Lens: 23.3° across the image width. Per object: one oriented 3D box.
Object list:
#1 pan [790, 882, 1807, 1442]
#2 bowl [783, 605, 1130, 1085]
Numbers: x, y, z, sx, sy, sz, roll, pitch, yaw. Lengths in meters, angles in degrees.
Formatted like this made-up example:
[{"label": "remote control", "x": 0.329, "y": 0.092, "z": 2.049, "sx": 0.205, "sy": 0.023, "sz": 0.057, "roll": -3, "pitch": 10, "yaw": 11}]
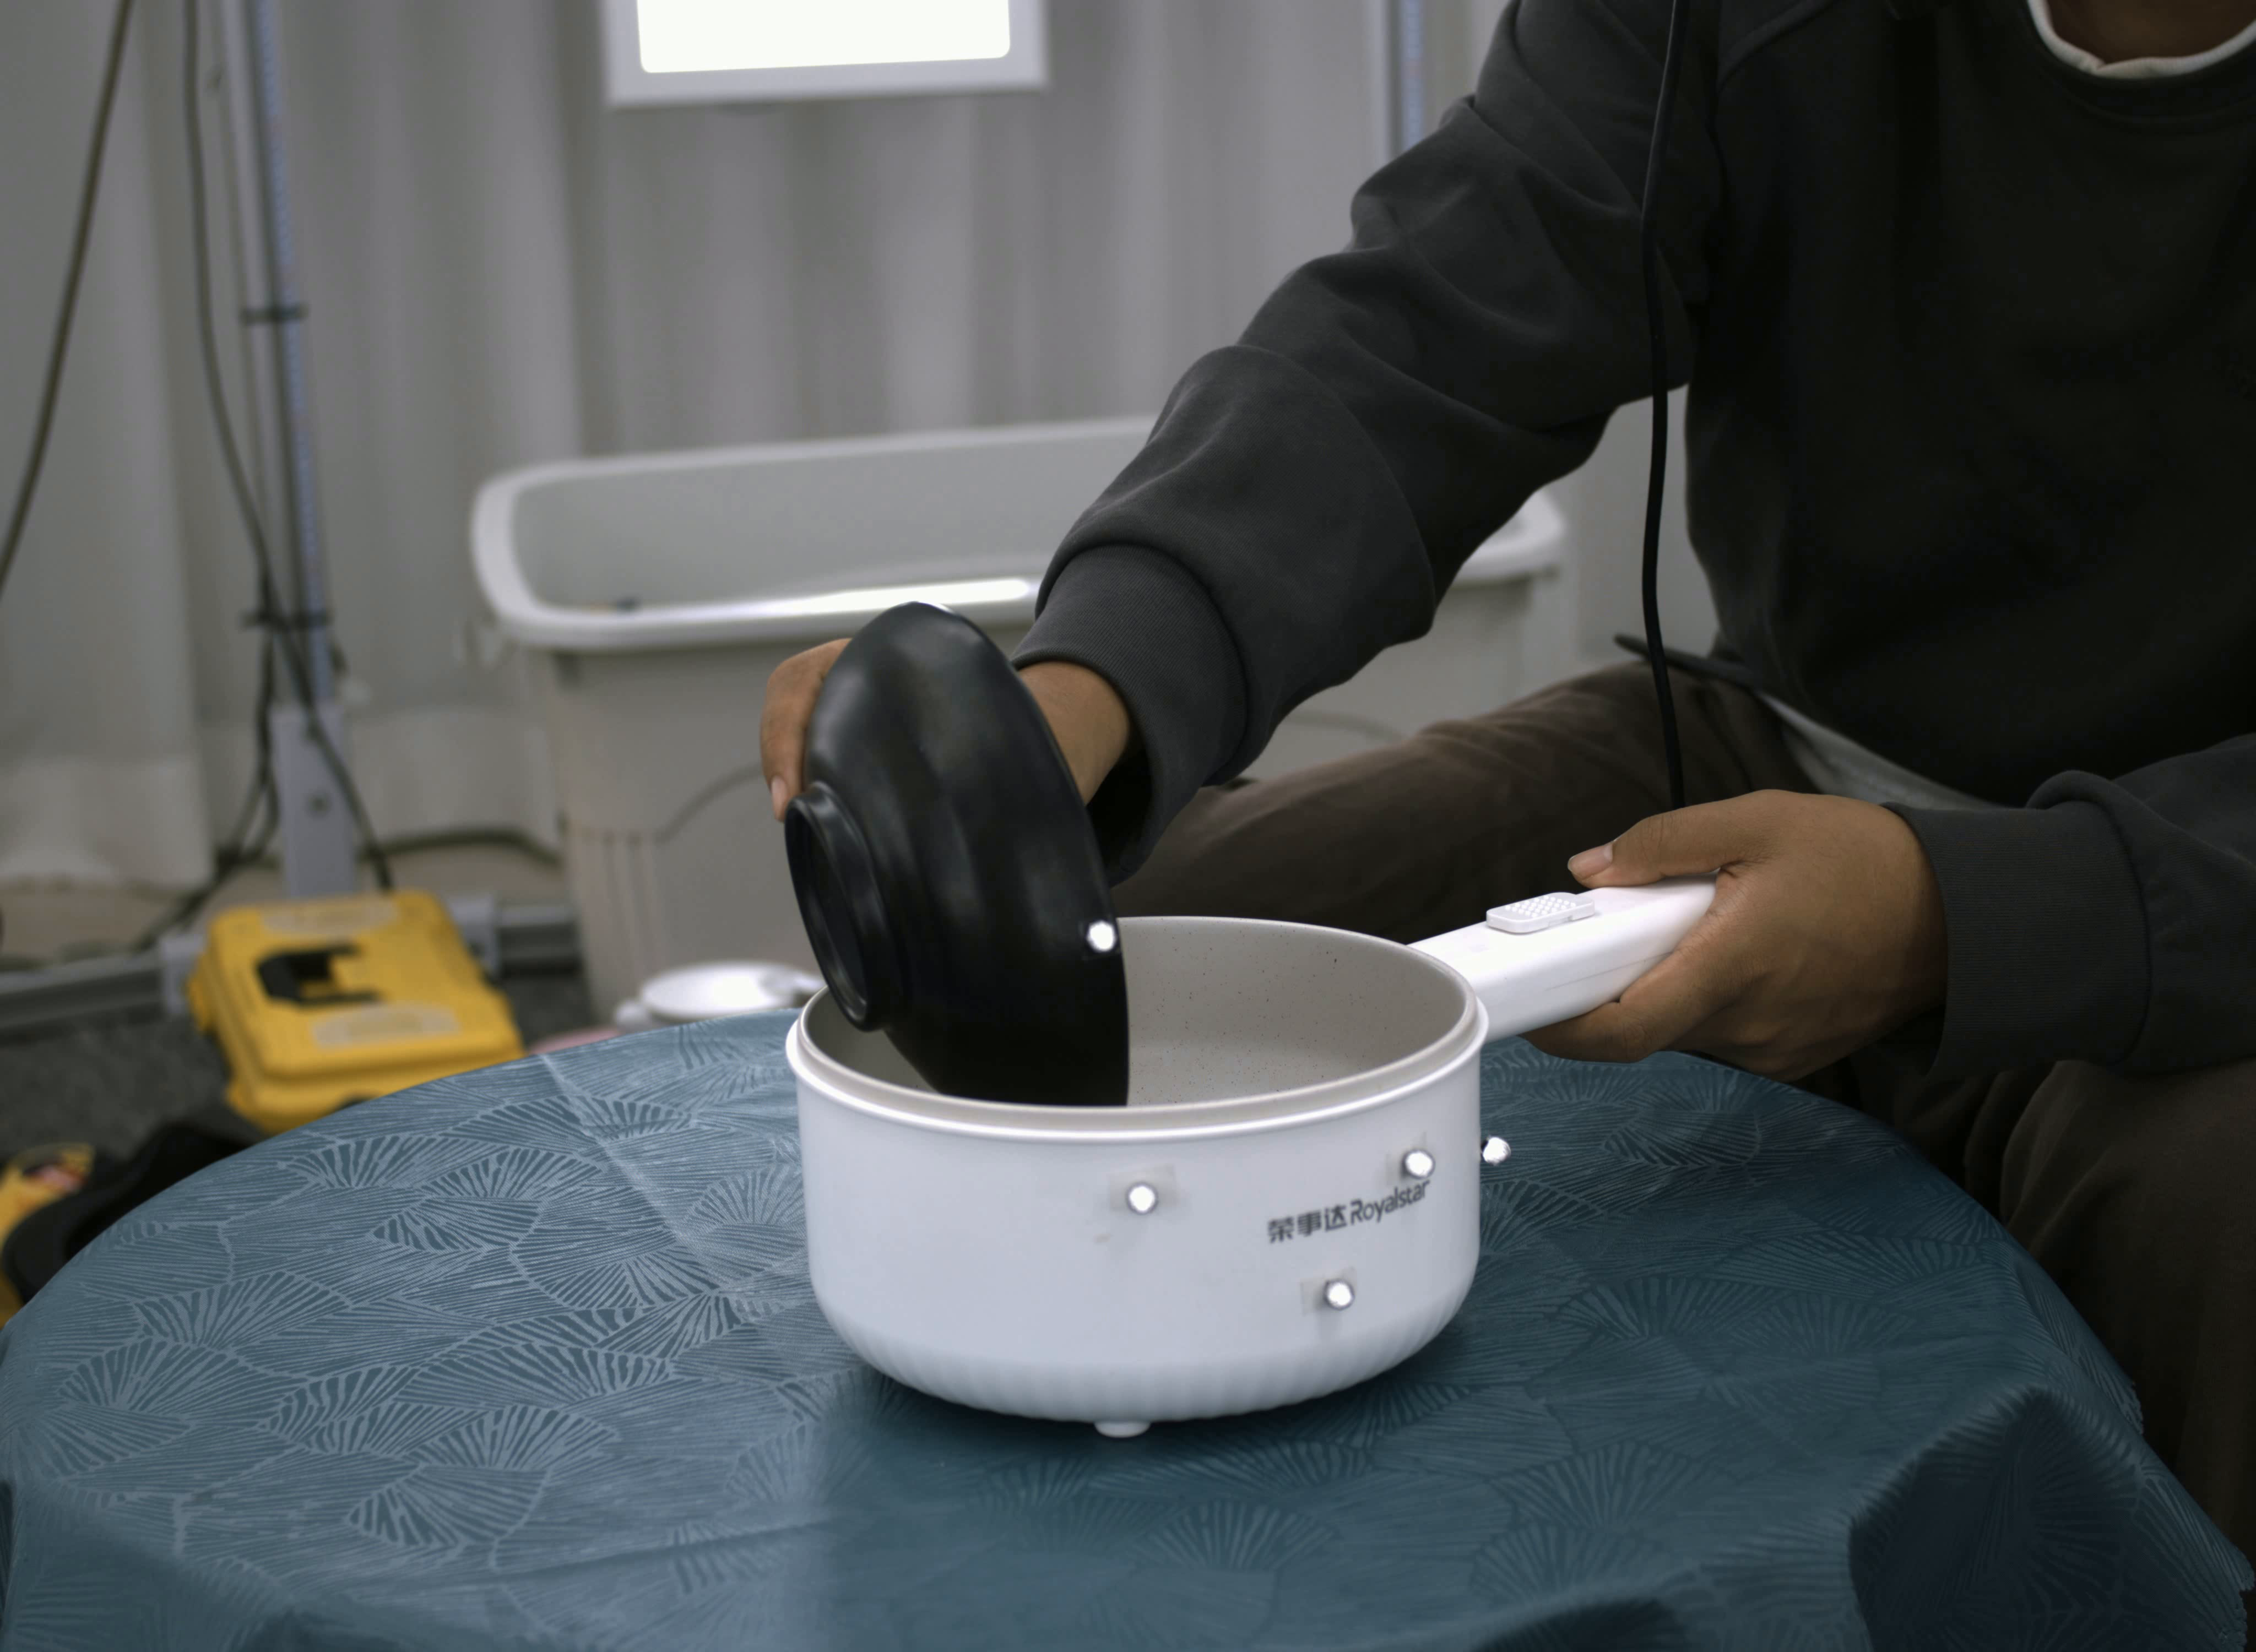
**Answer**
[{"label": "pan", "x": 0.064, "y": 0.092, "z": 1.621, "sx": 0.353, "sy": 0.102, "sz": 0.202, "roll": -11, "pitch": 15, "yaw": -38}, {"label": "bowl", "x": -0.056, "y": 0.017, "z": 1.547, "sx": 0.066, "sy": 0.172, "sz": 0.136, "roll": -18, "pitch": -27, "yaw": -16}]
